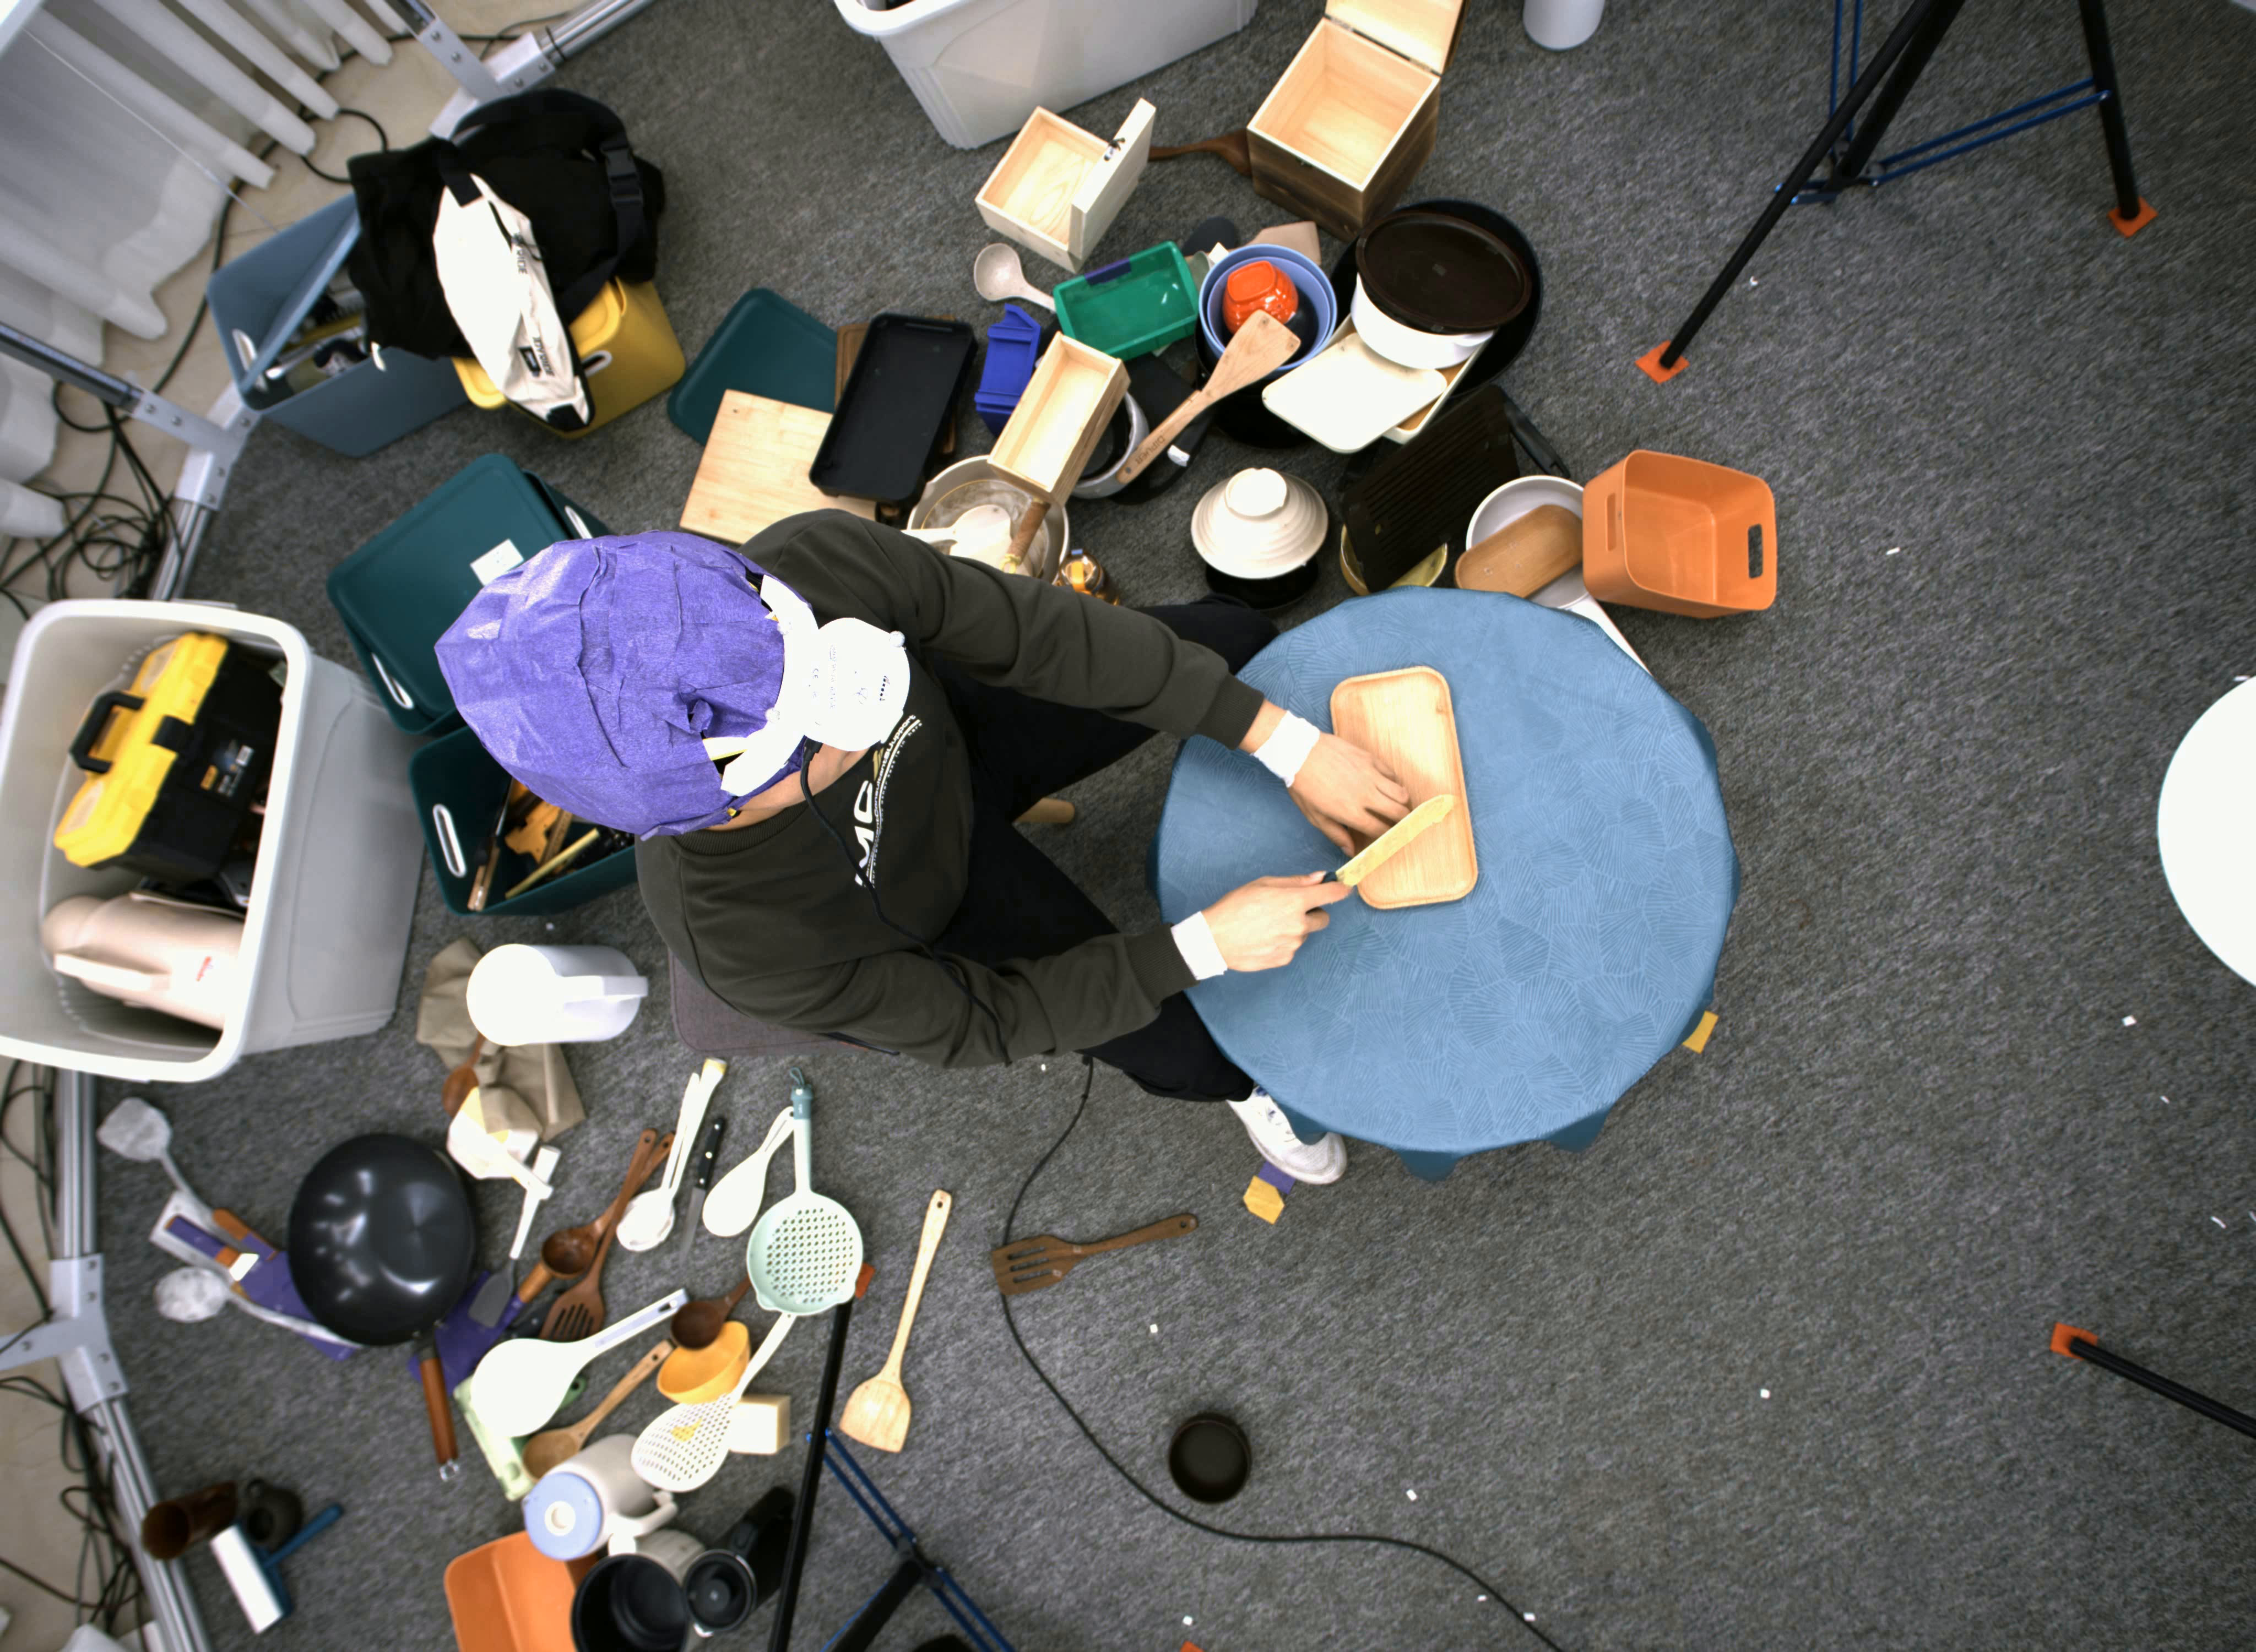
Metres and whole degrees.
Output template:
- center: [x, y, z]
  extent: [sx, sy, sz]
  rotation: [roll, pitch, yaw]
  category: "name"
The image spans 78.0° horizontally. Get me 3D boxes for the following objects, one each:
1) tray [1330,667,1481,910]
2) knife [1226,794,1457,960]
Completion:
- center: [0.292, -0.042, 1.454]
  extent: [0.131, 0.023, 0.249]
  rotation: [-9, 86, 13]
  category: "tray"
- center: [0.222, 0.050, 1.415]
  extent: [0.289, 0.082, 0.027]
  rotation: [-35, 64, -2]
  category: "knife"
